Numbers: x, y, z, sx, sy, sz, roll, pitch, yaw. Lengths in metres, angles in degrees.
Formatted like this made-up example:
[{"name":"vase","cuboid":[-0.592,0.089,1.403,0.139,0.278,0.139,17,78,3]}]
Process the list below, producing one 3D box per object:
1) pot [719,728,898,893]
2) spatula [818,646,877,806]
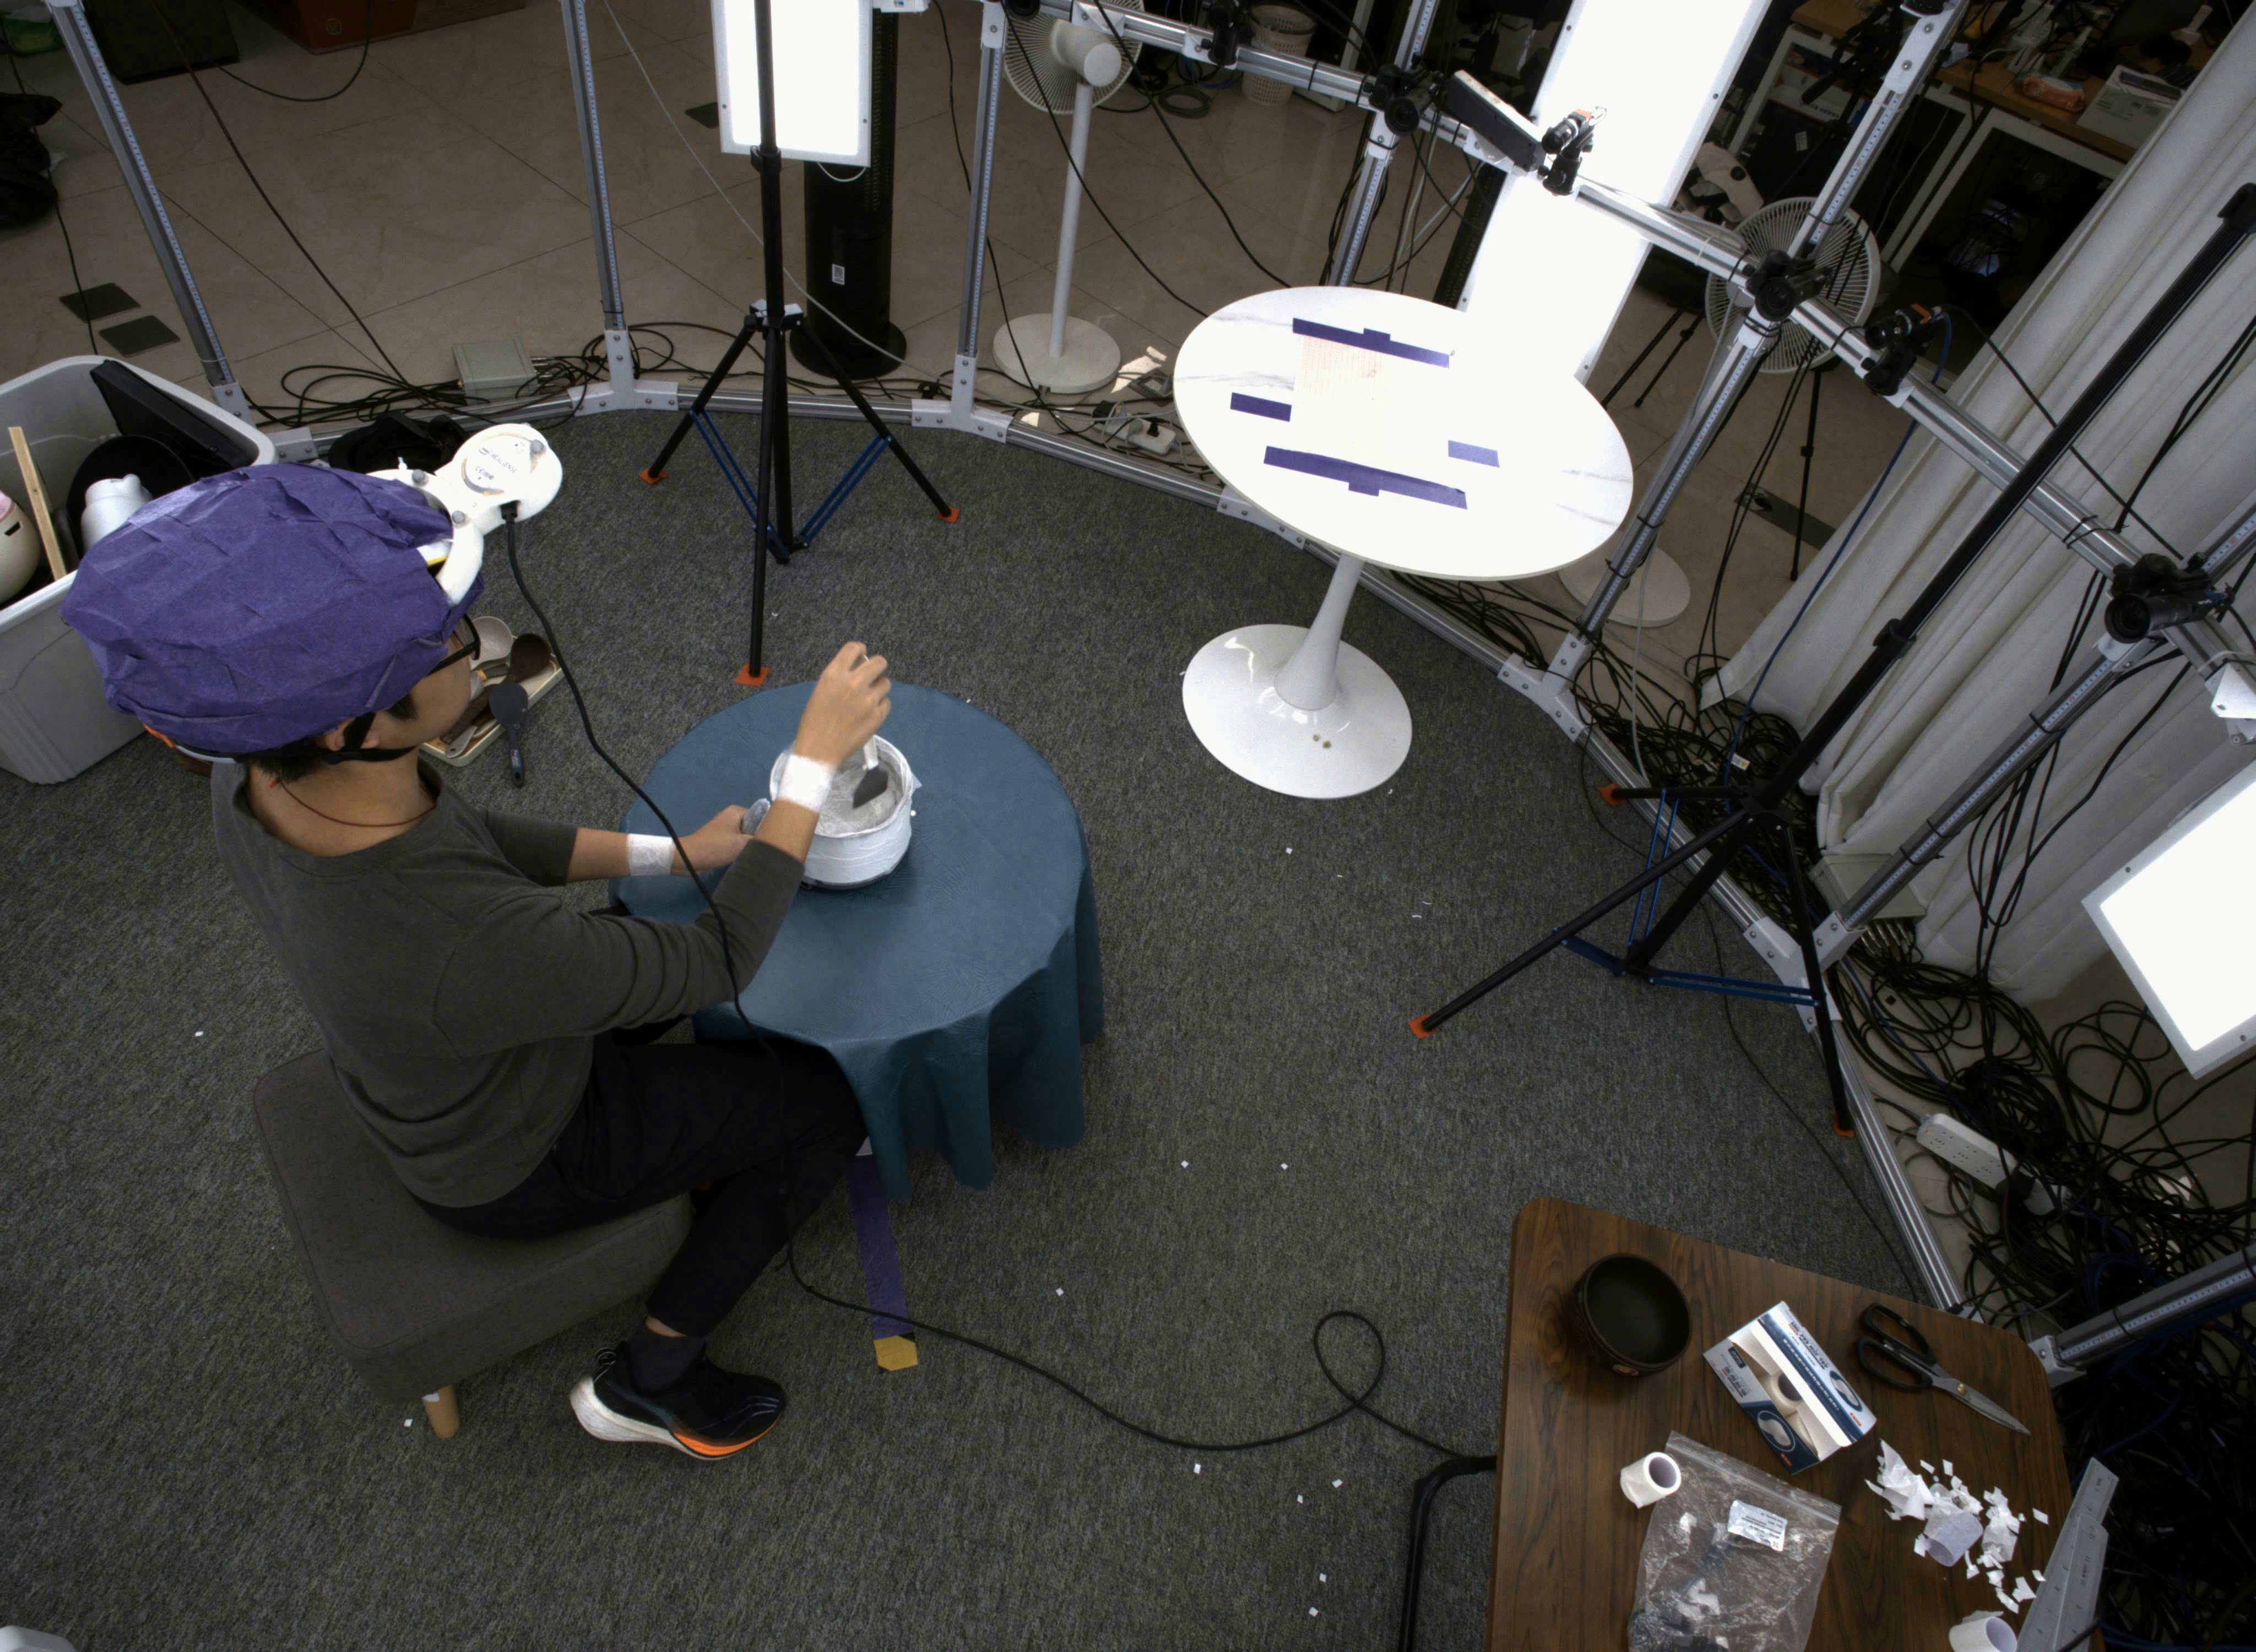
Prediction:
[{"name":"pot","cuboid":[-0.410,-0.008,1.657,0.235,0.139,0.174,-21,60,-26]},{"name":"spatula","cuboid":[-0.336,-0.108,1.557,0.059,0.294,0.031,-38,67,-24]}]
